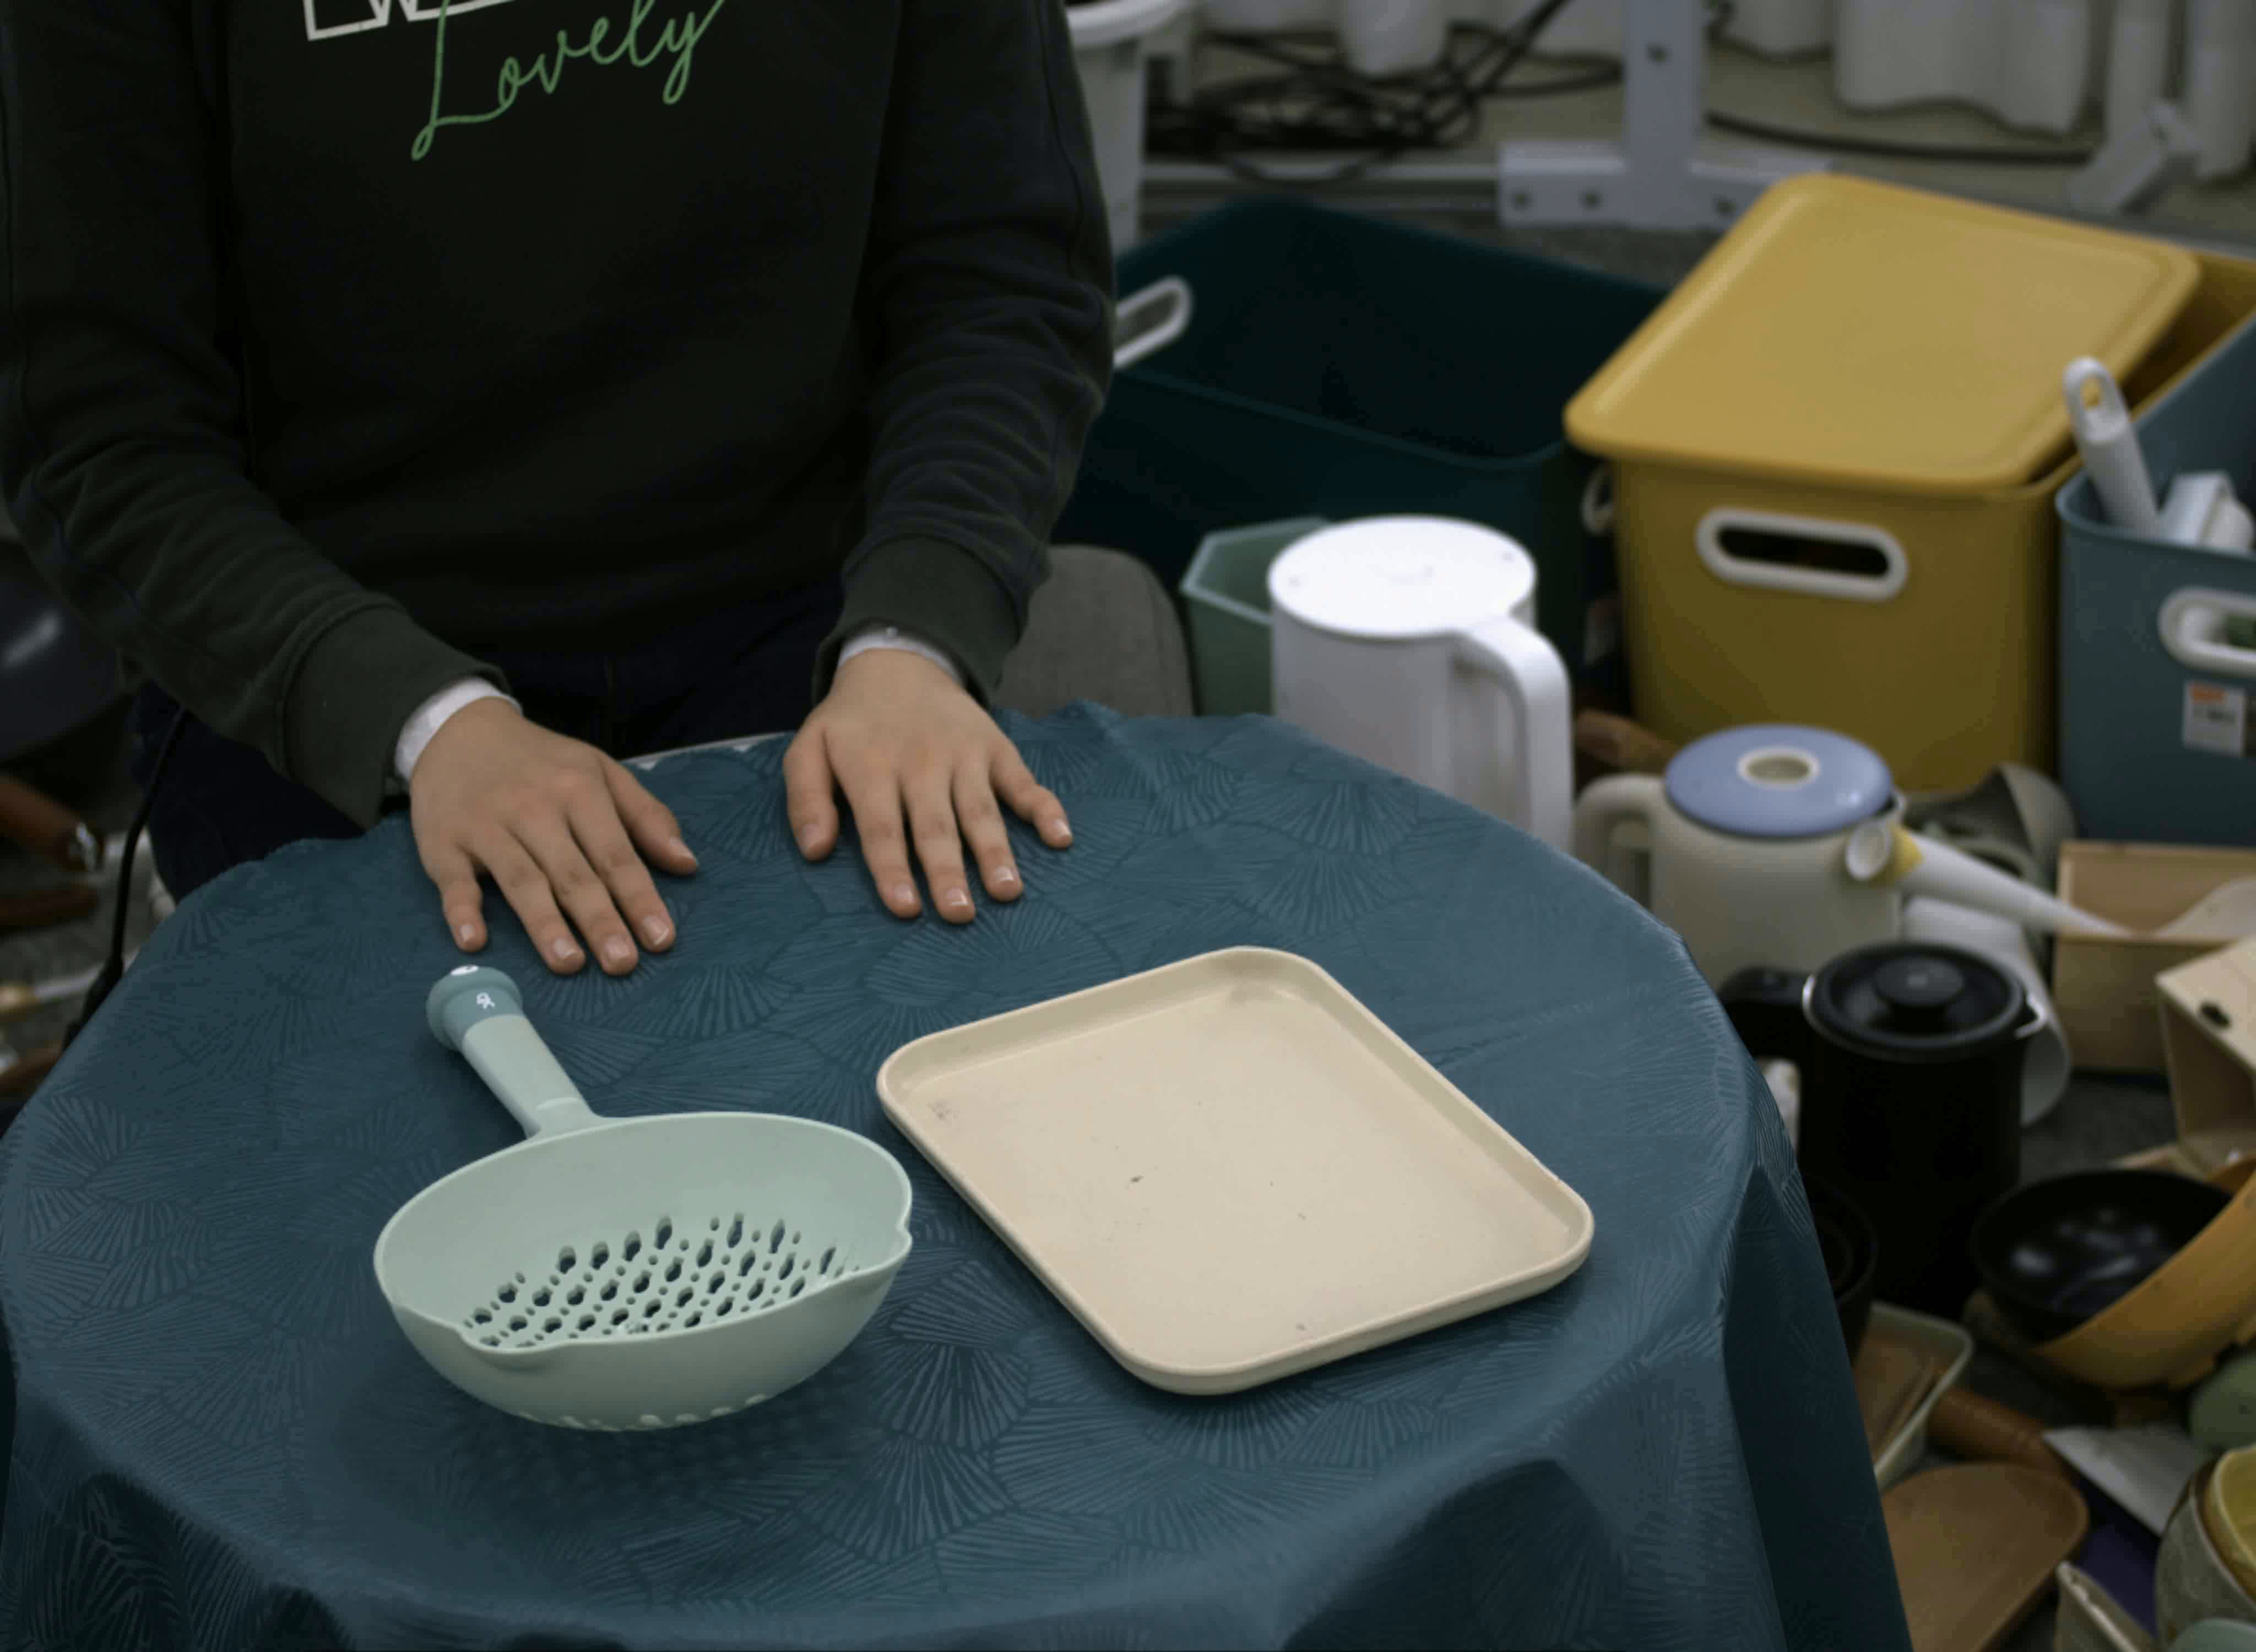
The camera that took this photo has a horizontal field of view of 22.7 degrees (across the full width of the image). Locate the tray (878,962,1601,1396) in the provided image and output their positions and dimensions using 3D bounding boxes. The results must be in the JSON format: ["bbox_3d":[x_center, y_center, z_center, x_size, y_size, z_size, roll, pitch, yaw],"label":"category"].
[{"bbox_3d":[0.034,0.115,1.854,0.172,0.017,0.241,-15,29,-23],"label":"tray"}]

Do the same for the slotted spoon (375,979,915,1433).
[{"bbox_3d":[-0.181,0.108,1.839,0.169,0.074,0.362,-11,27,-17],"label":"slotted spoon"}]
